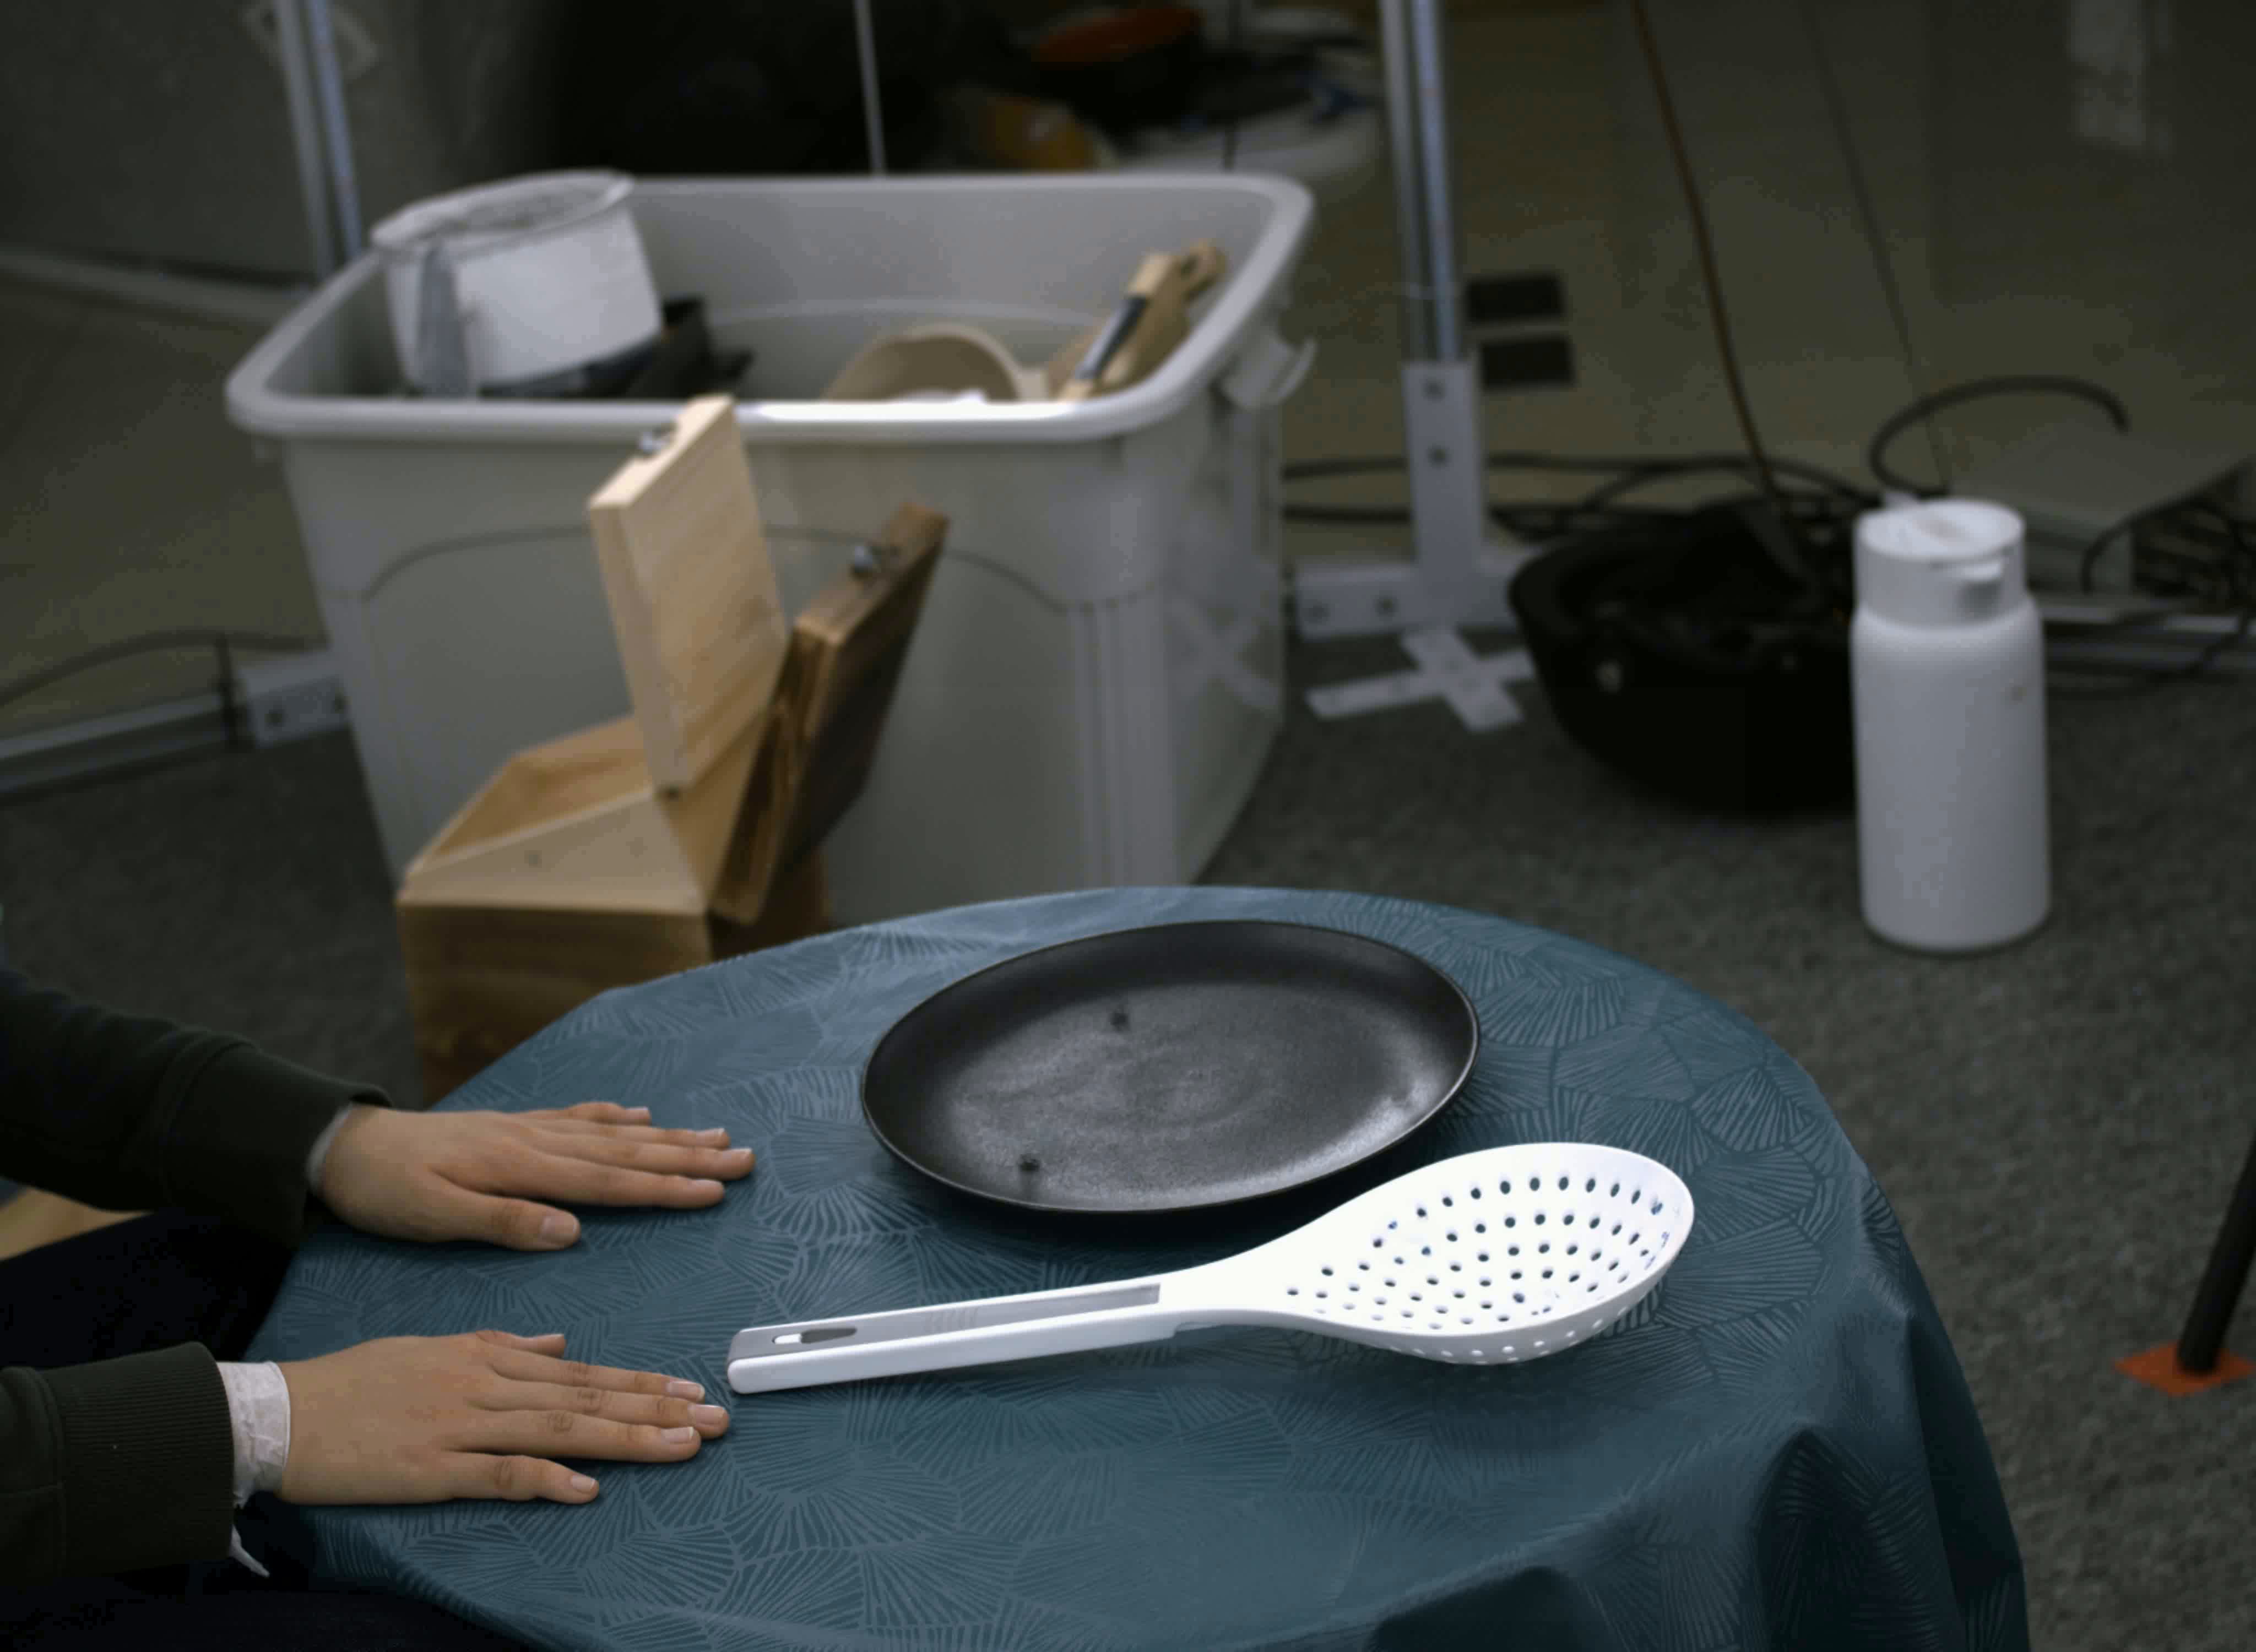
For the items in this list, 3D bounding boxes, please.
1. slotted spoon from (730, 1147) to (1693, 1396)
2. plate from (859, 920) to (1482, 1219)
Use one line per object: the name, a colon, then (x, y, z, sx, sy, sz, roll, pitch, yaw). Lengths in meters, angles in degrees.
slotted spoon: (0.028, 0.169, 2.027, 0.349, 0.046, 0.134, -5, 23, 6)
plate: (0.017, 0.100, 2.206, 0.244, 0.024, 0.241, -5, 25, 3)
